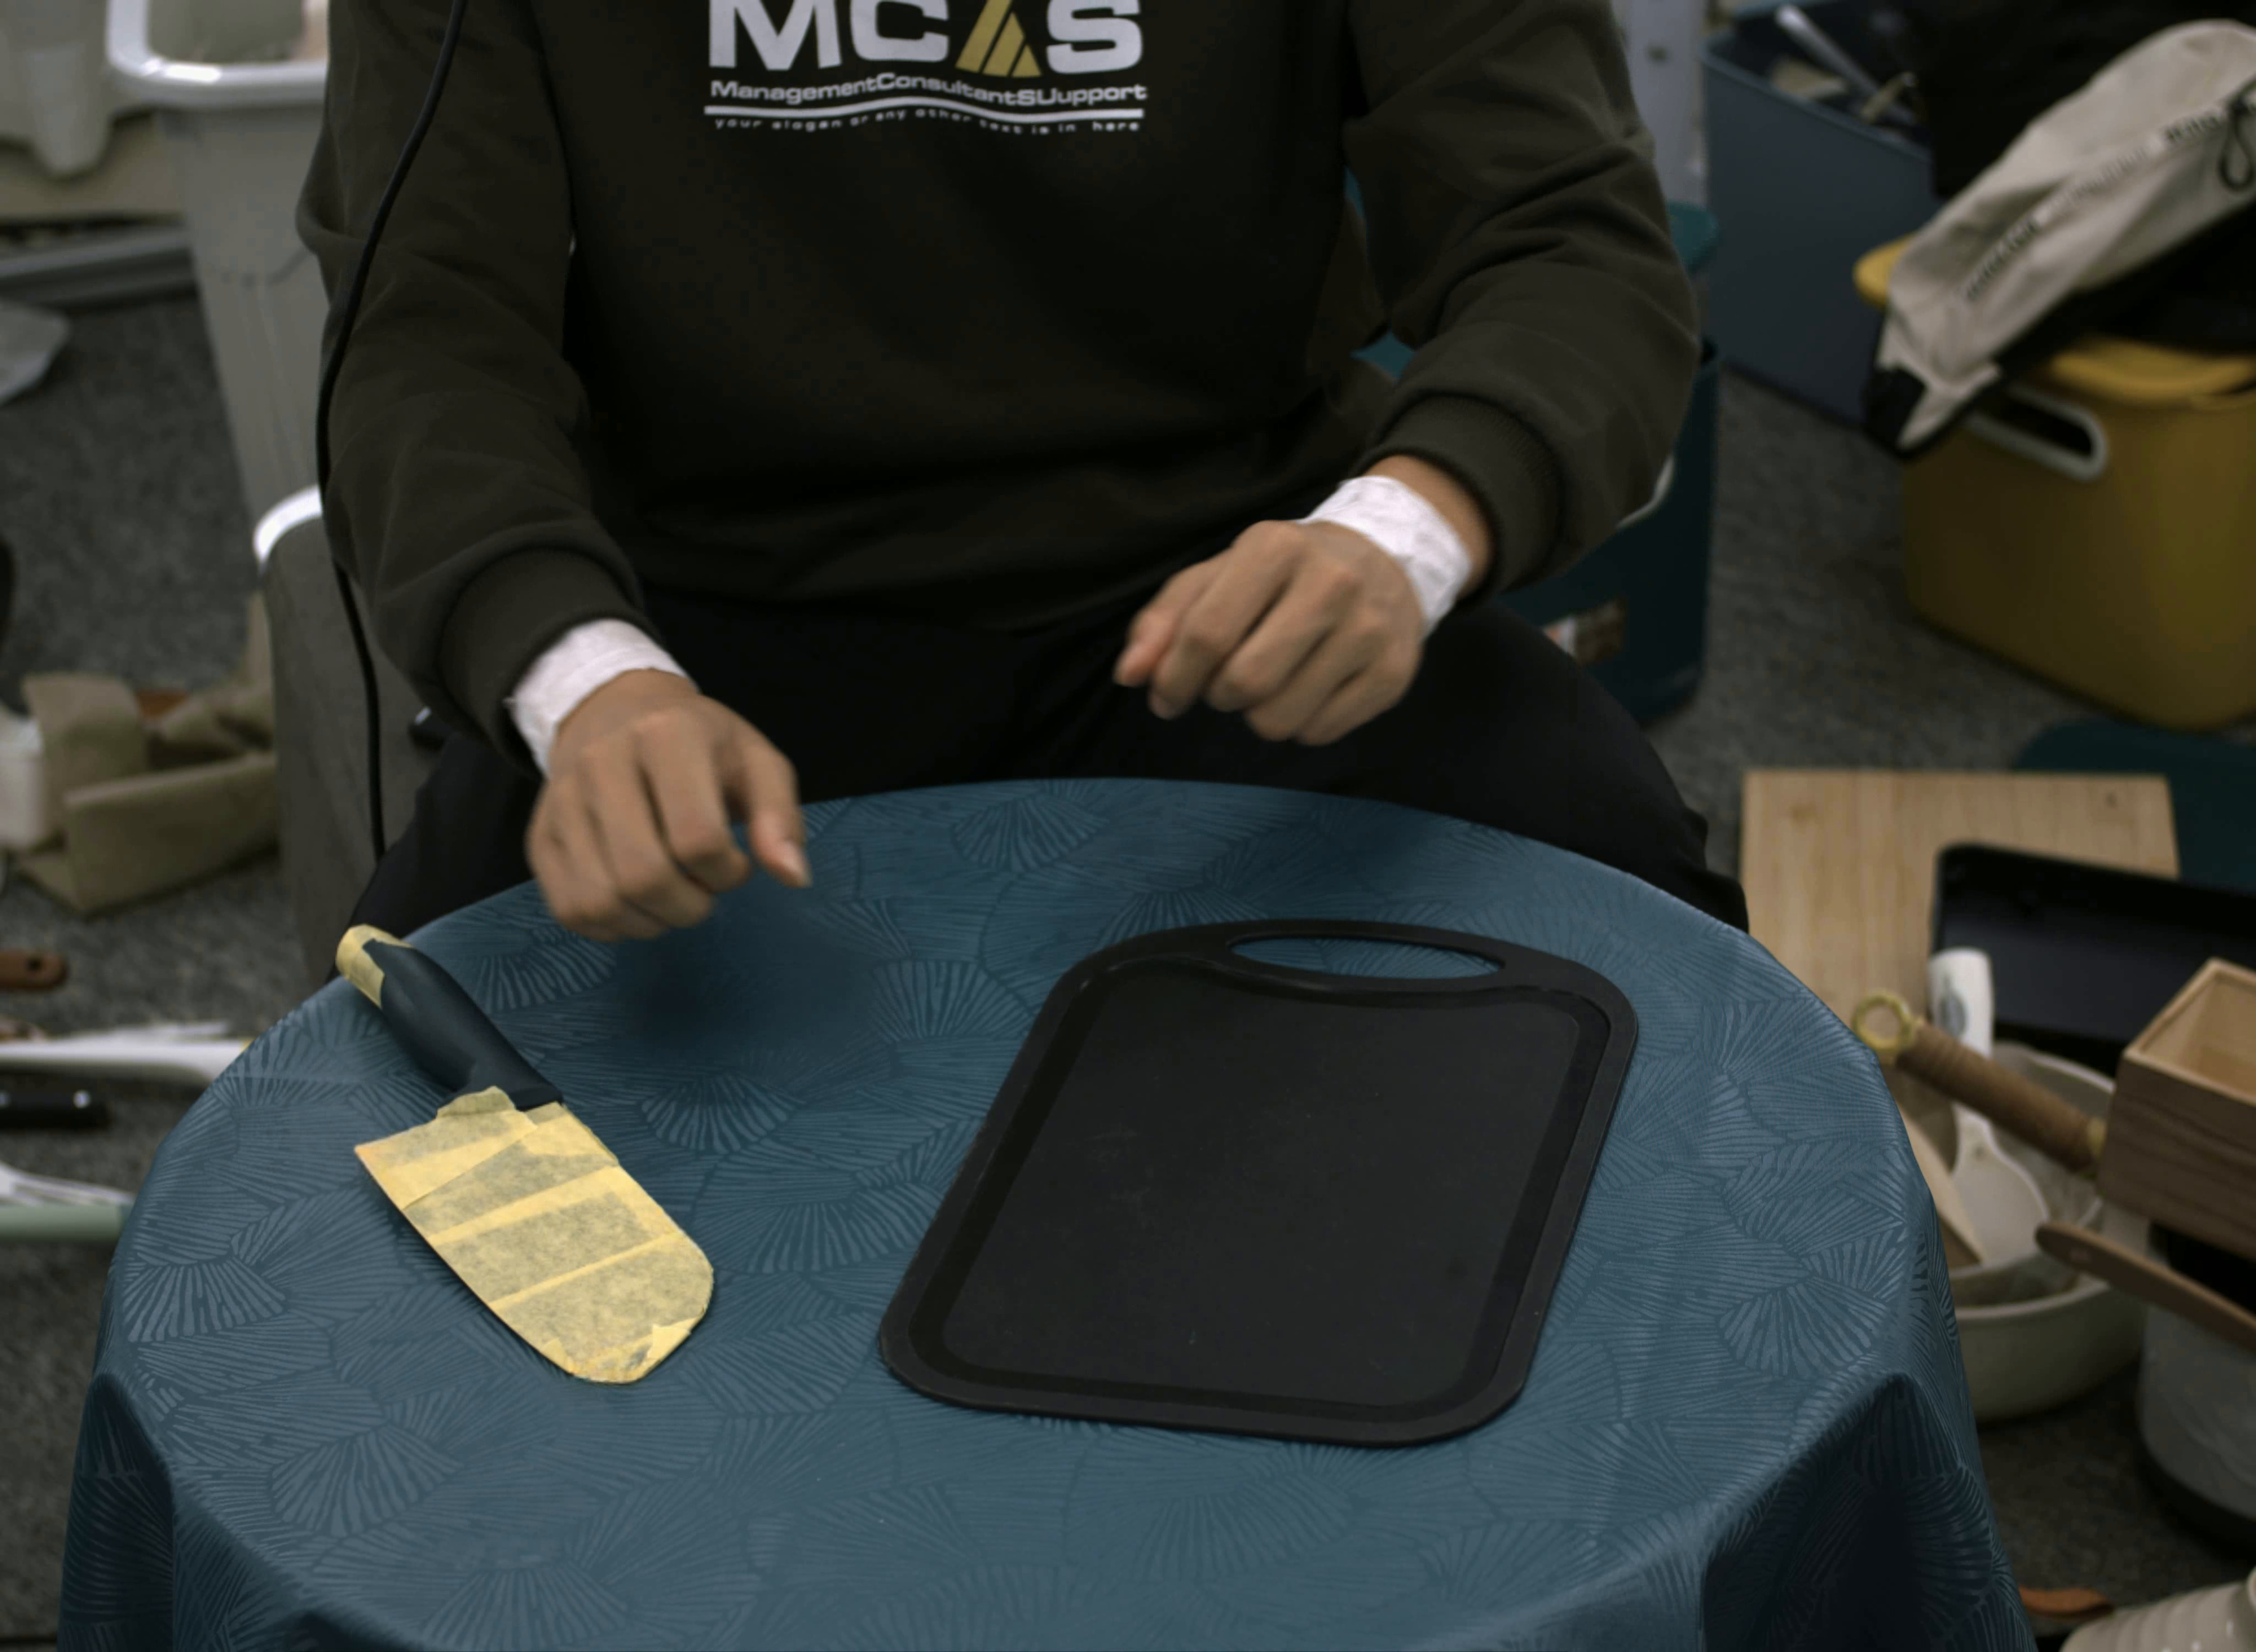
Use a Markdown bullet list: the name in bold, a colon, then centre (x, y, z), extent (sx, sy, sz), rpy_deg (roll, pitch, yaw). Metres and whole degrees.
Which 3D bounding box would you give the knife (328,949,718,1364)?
- **knife**: centre (-0.217, 0.111, 1.886), extent (0.081, 0.027, 0.291), rpy_deg (-14, 30, -24)

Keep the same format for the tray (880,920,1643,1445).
- **tray**: centre (0.051, 0.109, 1.873), extent (0.209, 0.009, 0.331), rpy_deg (4, 28, 14)
